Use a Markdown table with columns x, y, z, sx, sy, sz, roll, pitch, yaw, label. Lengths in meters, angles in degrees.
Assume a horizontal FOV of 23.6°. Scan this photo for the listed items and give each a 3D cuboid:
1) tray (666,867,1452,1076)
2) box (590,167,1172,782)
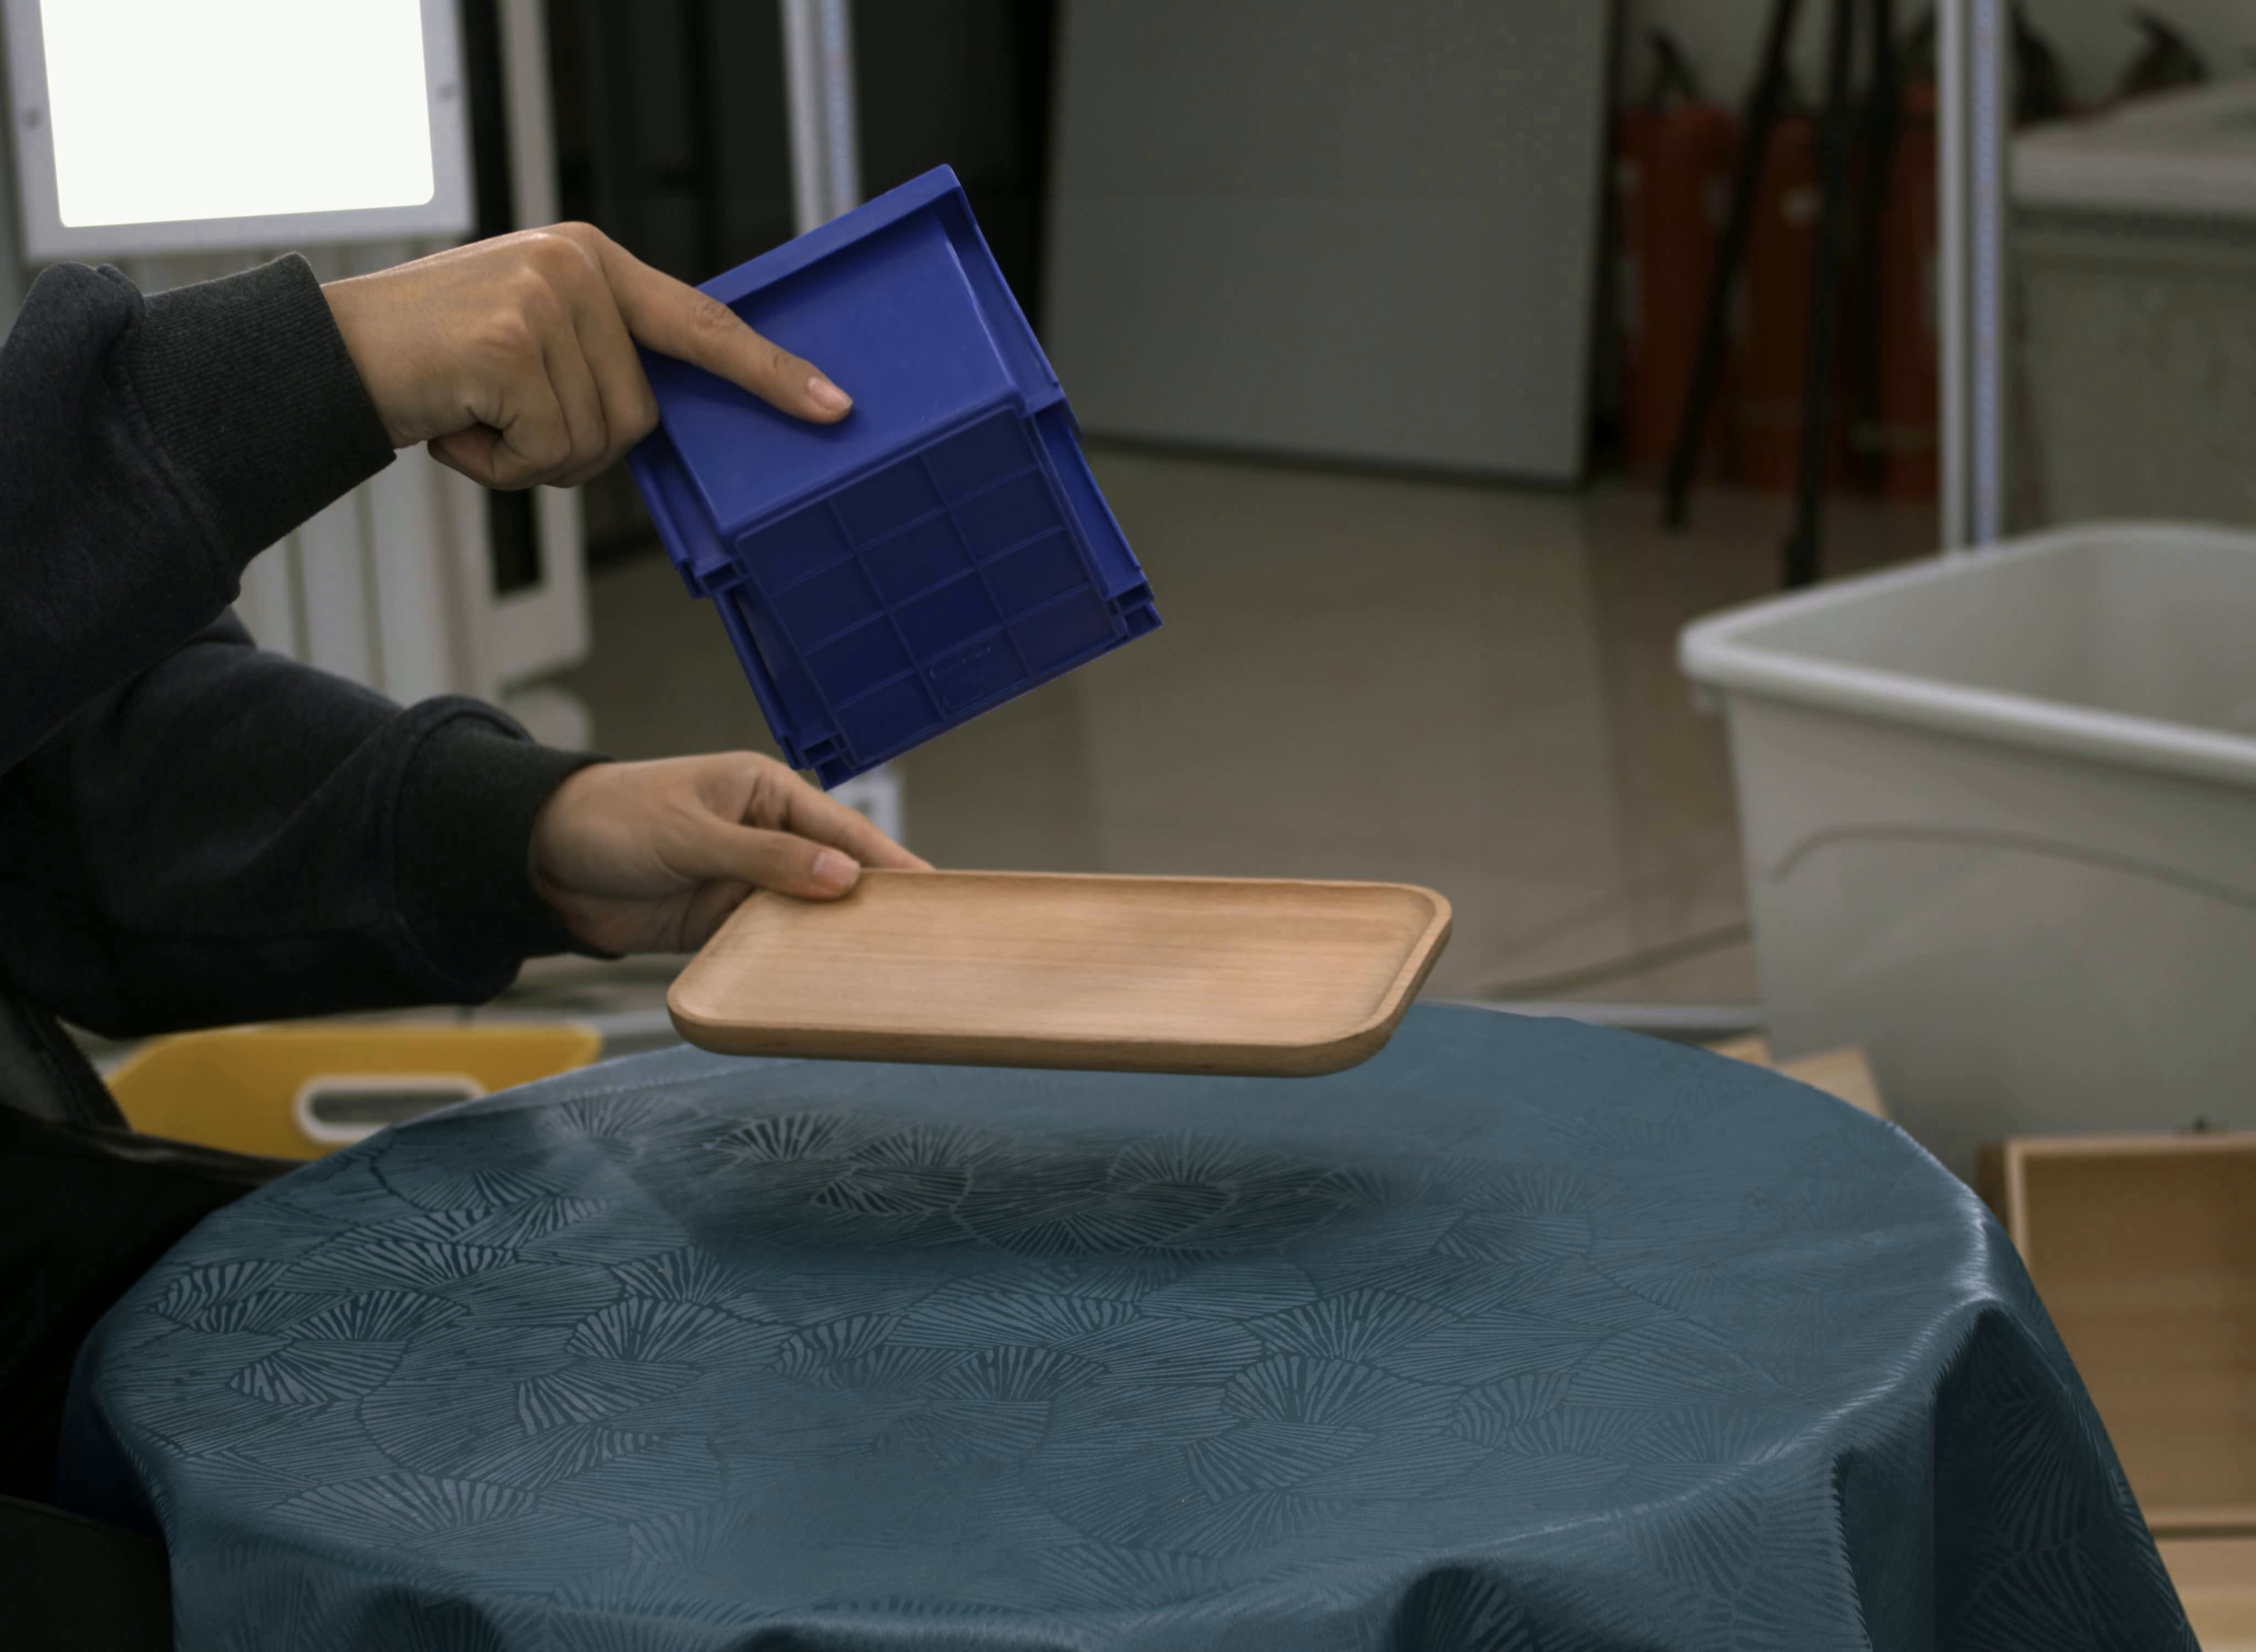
| x | y | z | sx | sy | sz | roll | pitch | yaw | label |
| --- | --- | --- | --- | --- | --- | --- | --- | --- | --- |
| -0.022 | 0.047 | 1.768 | 0.250 | 0.023 | 0.129 | 0 | 21 | 21 | tray |
| -0.070 | -0.095 | 1.634 | 0.124 | 0.083 | 0.178 | -28 | -29 | 2 | box |
